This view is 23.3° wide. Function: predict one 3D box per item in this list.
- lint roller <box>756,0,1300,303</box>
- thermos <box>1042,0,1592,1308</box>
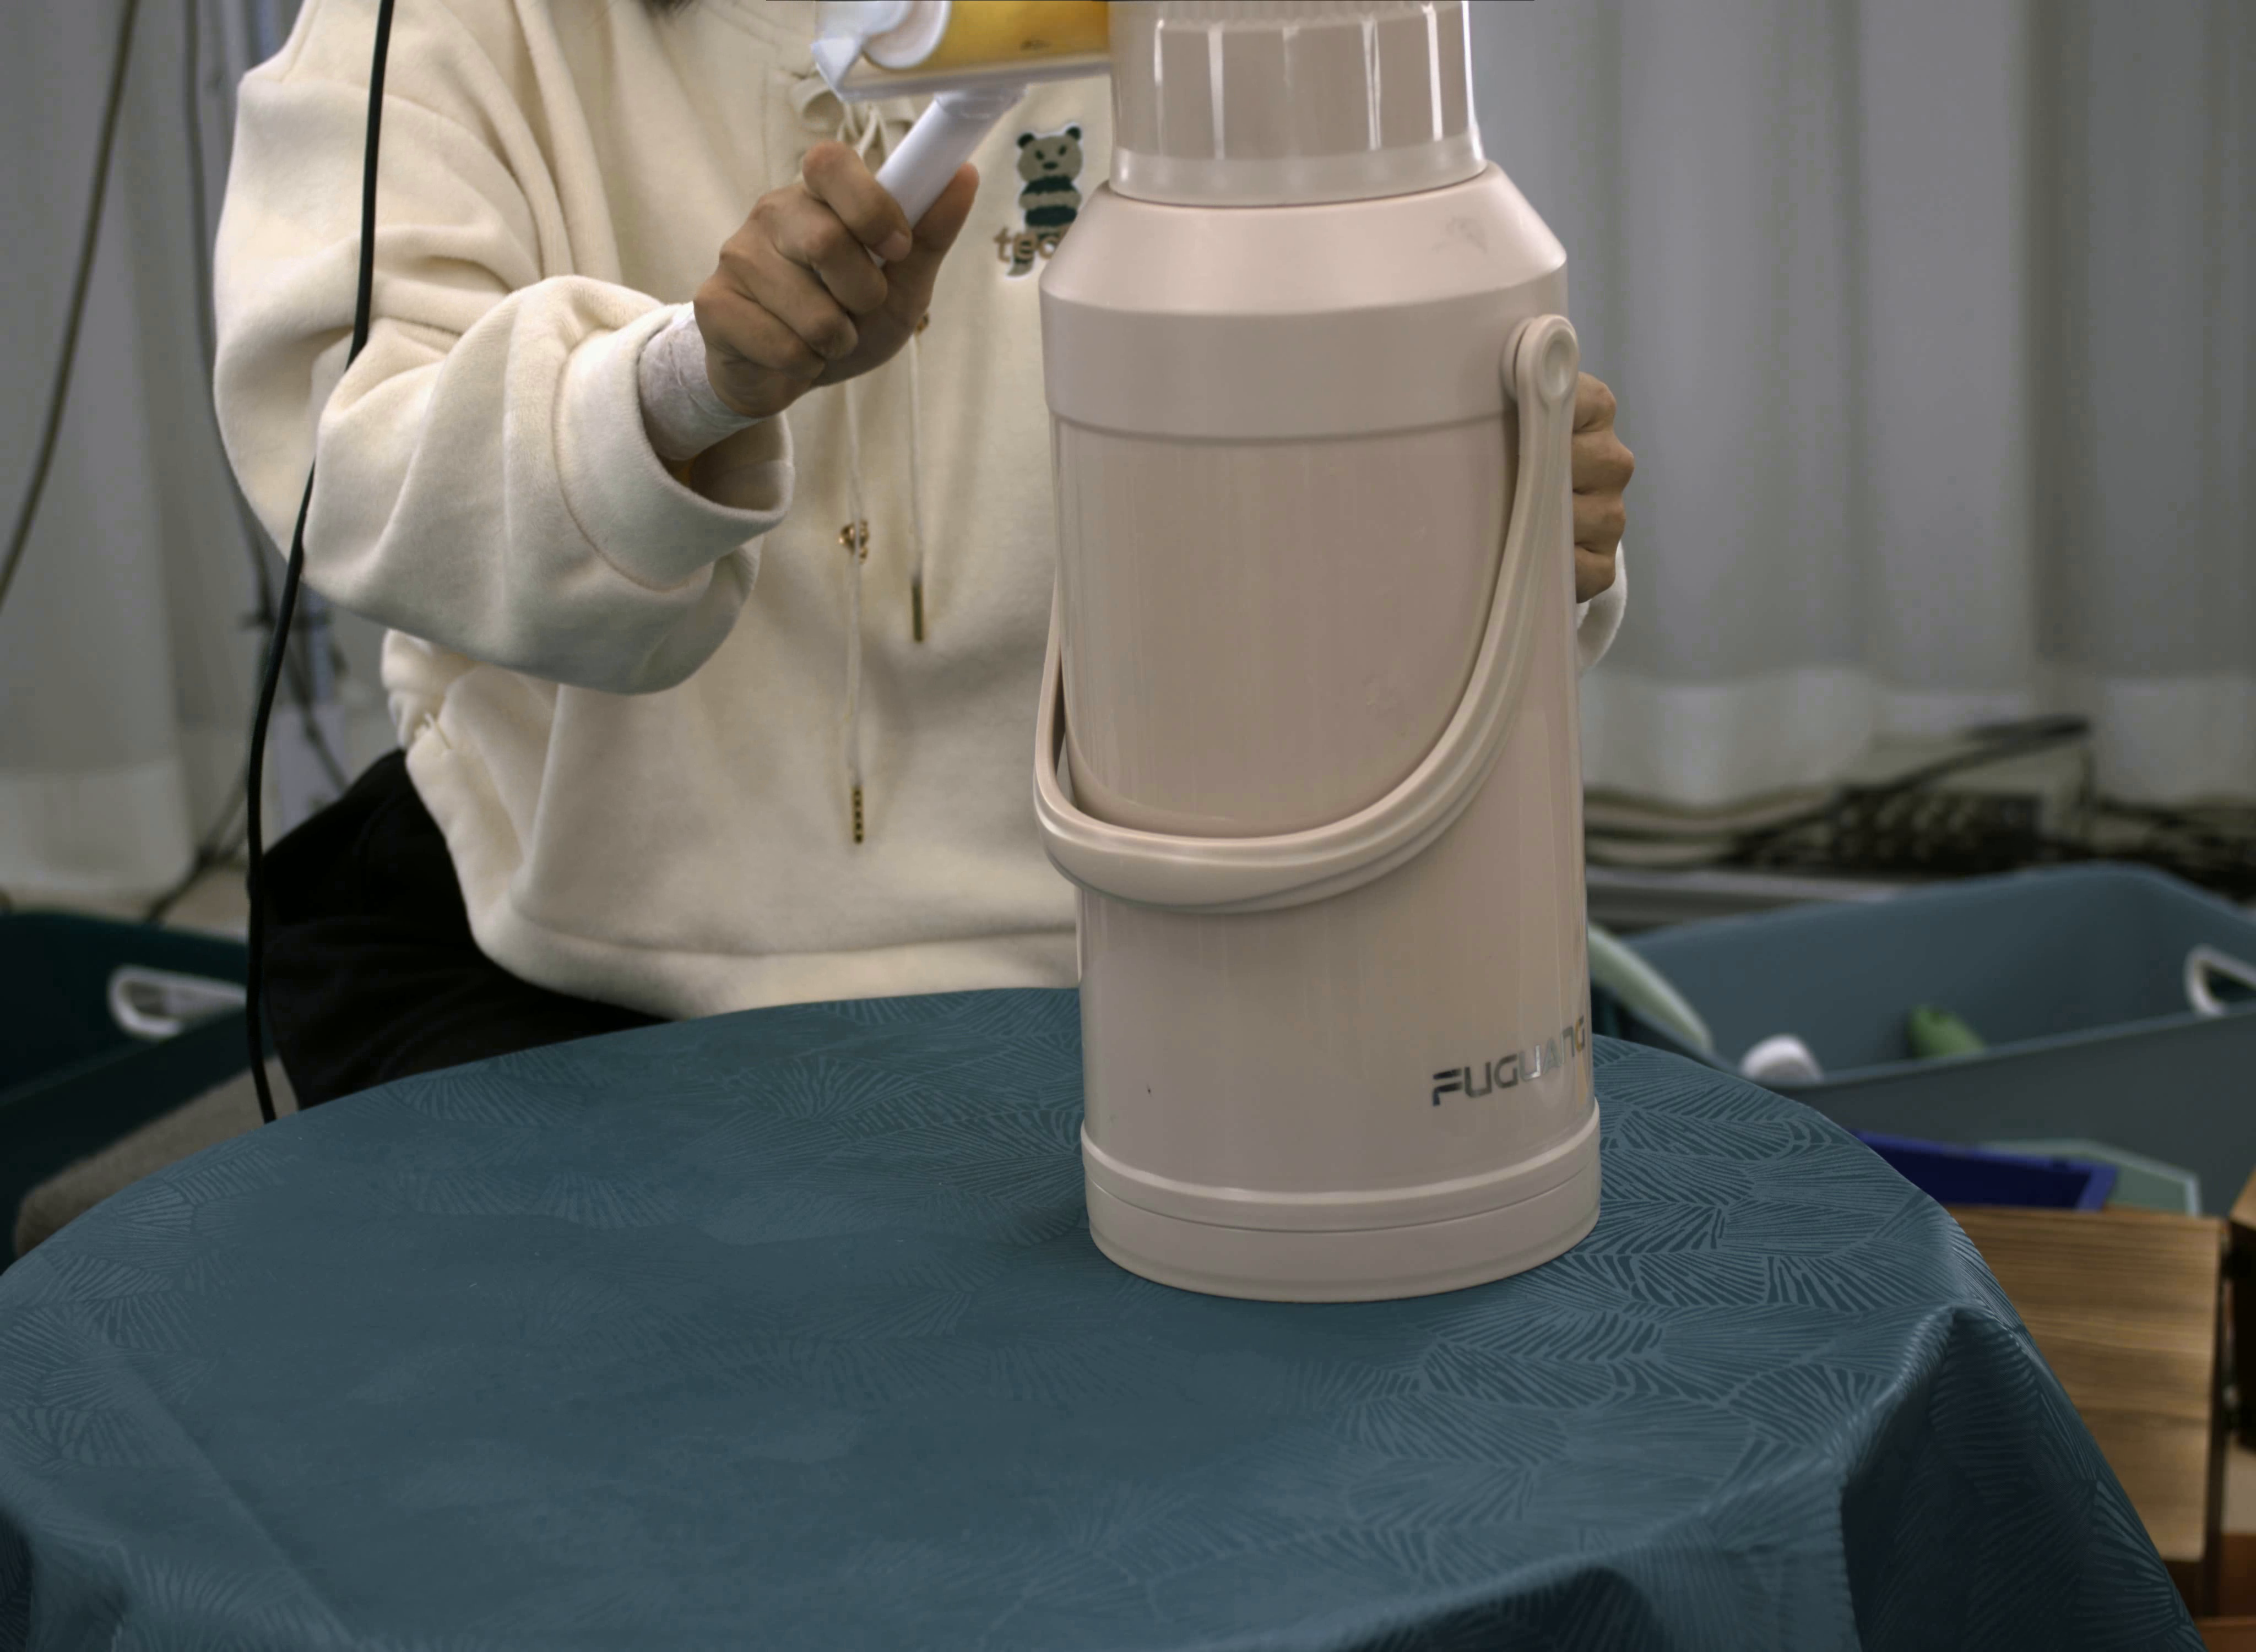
[{"bbox_3d":[-0.059,-0.227,1.687,0.174,0.052,0.191,-13,-15,-48],"label":"lint roller"},{"bbox_3d":[0.065,-0.074,1.644,0.176,0.405,0.207,6,16,36],"label":"thermos"}]
